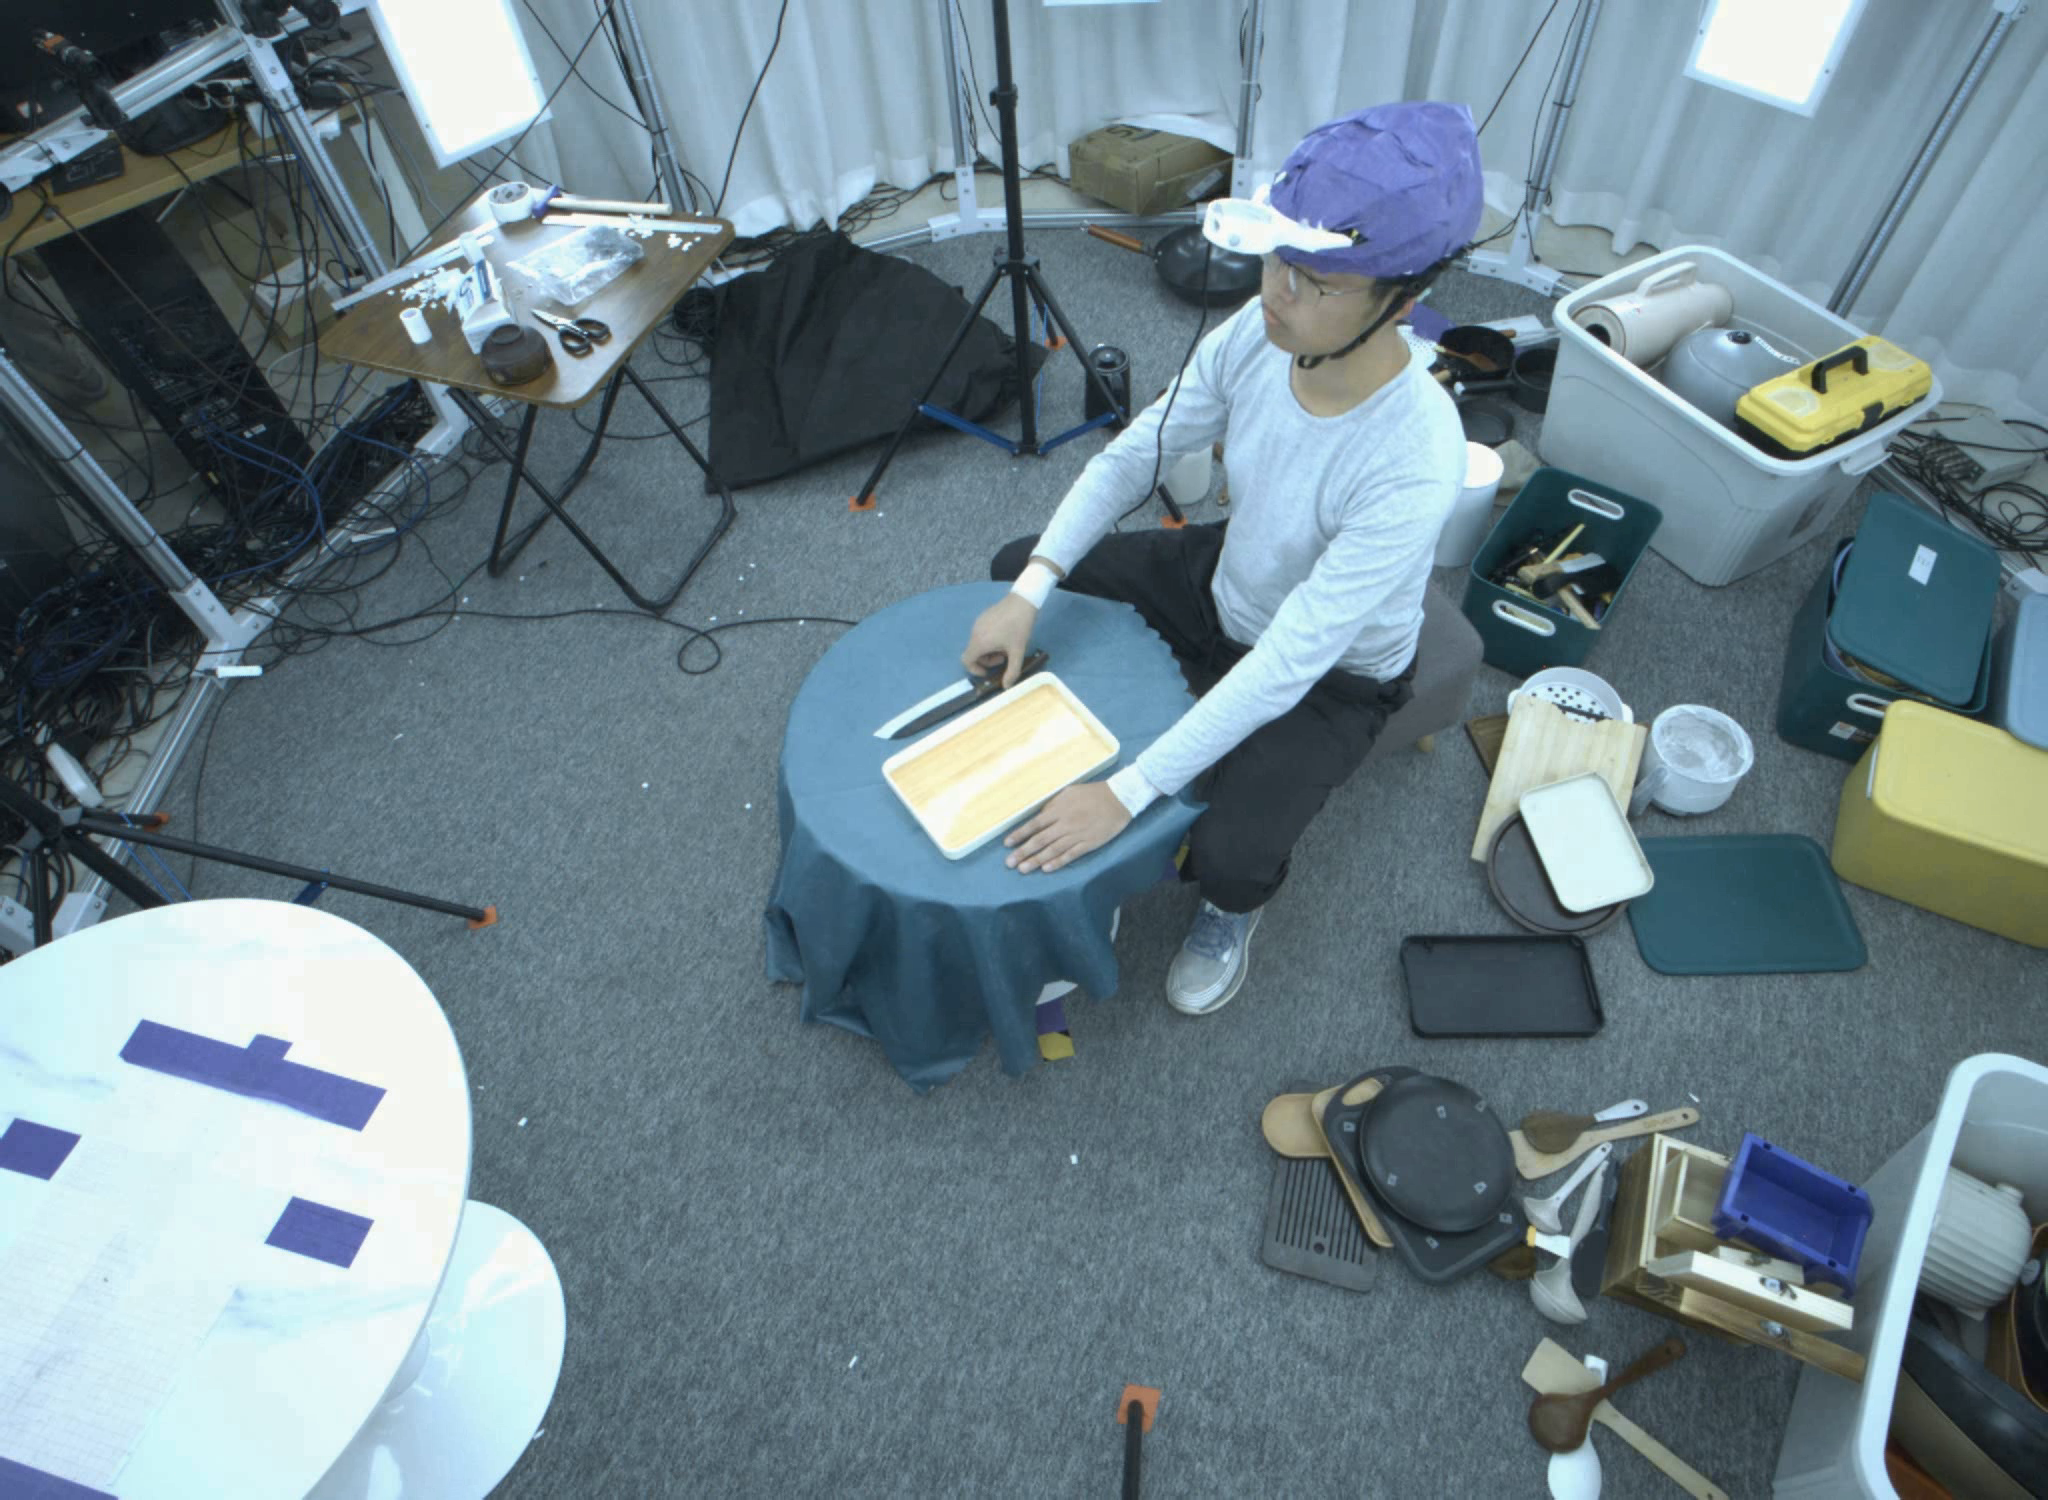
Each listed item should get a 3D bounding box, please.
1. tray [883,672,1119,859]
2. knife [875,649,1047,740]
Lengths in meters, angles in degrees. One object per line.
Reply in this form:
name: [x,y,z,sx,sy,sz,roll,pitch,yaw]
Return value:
tray: [-0.032,0.017,1.768,0.303,0.028,0.188,-31,59,-19]
knife: [-0.094,-0.083,1.847,0.291,0.020,0.049,-27,58,-14]
